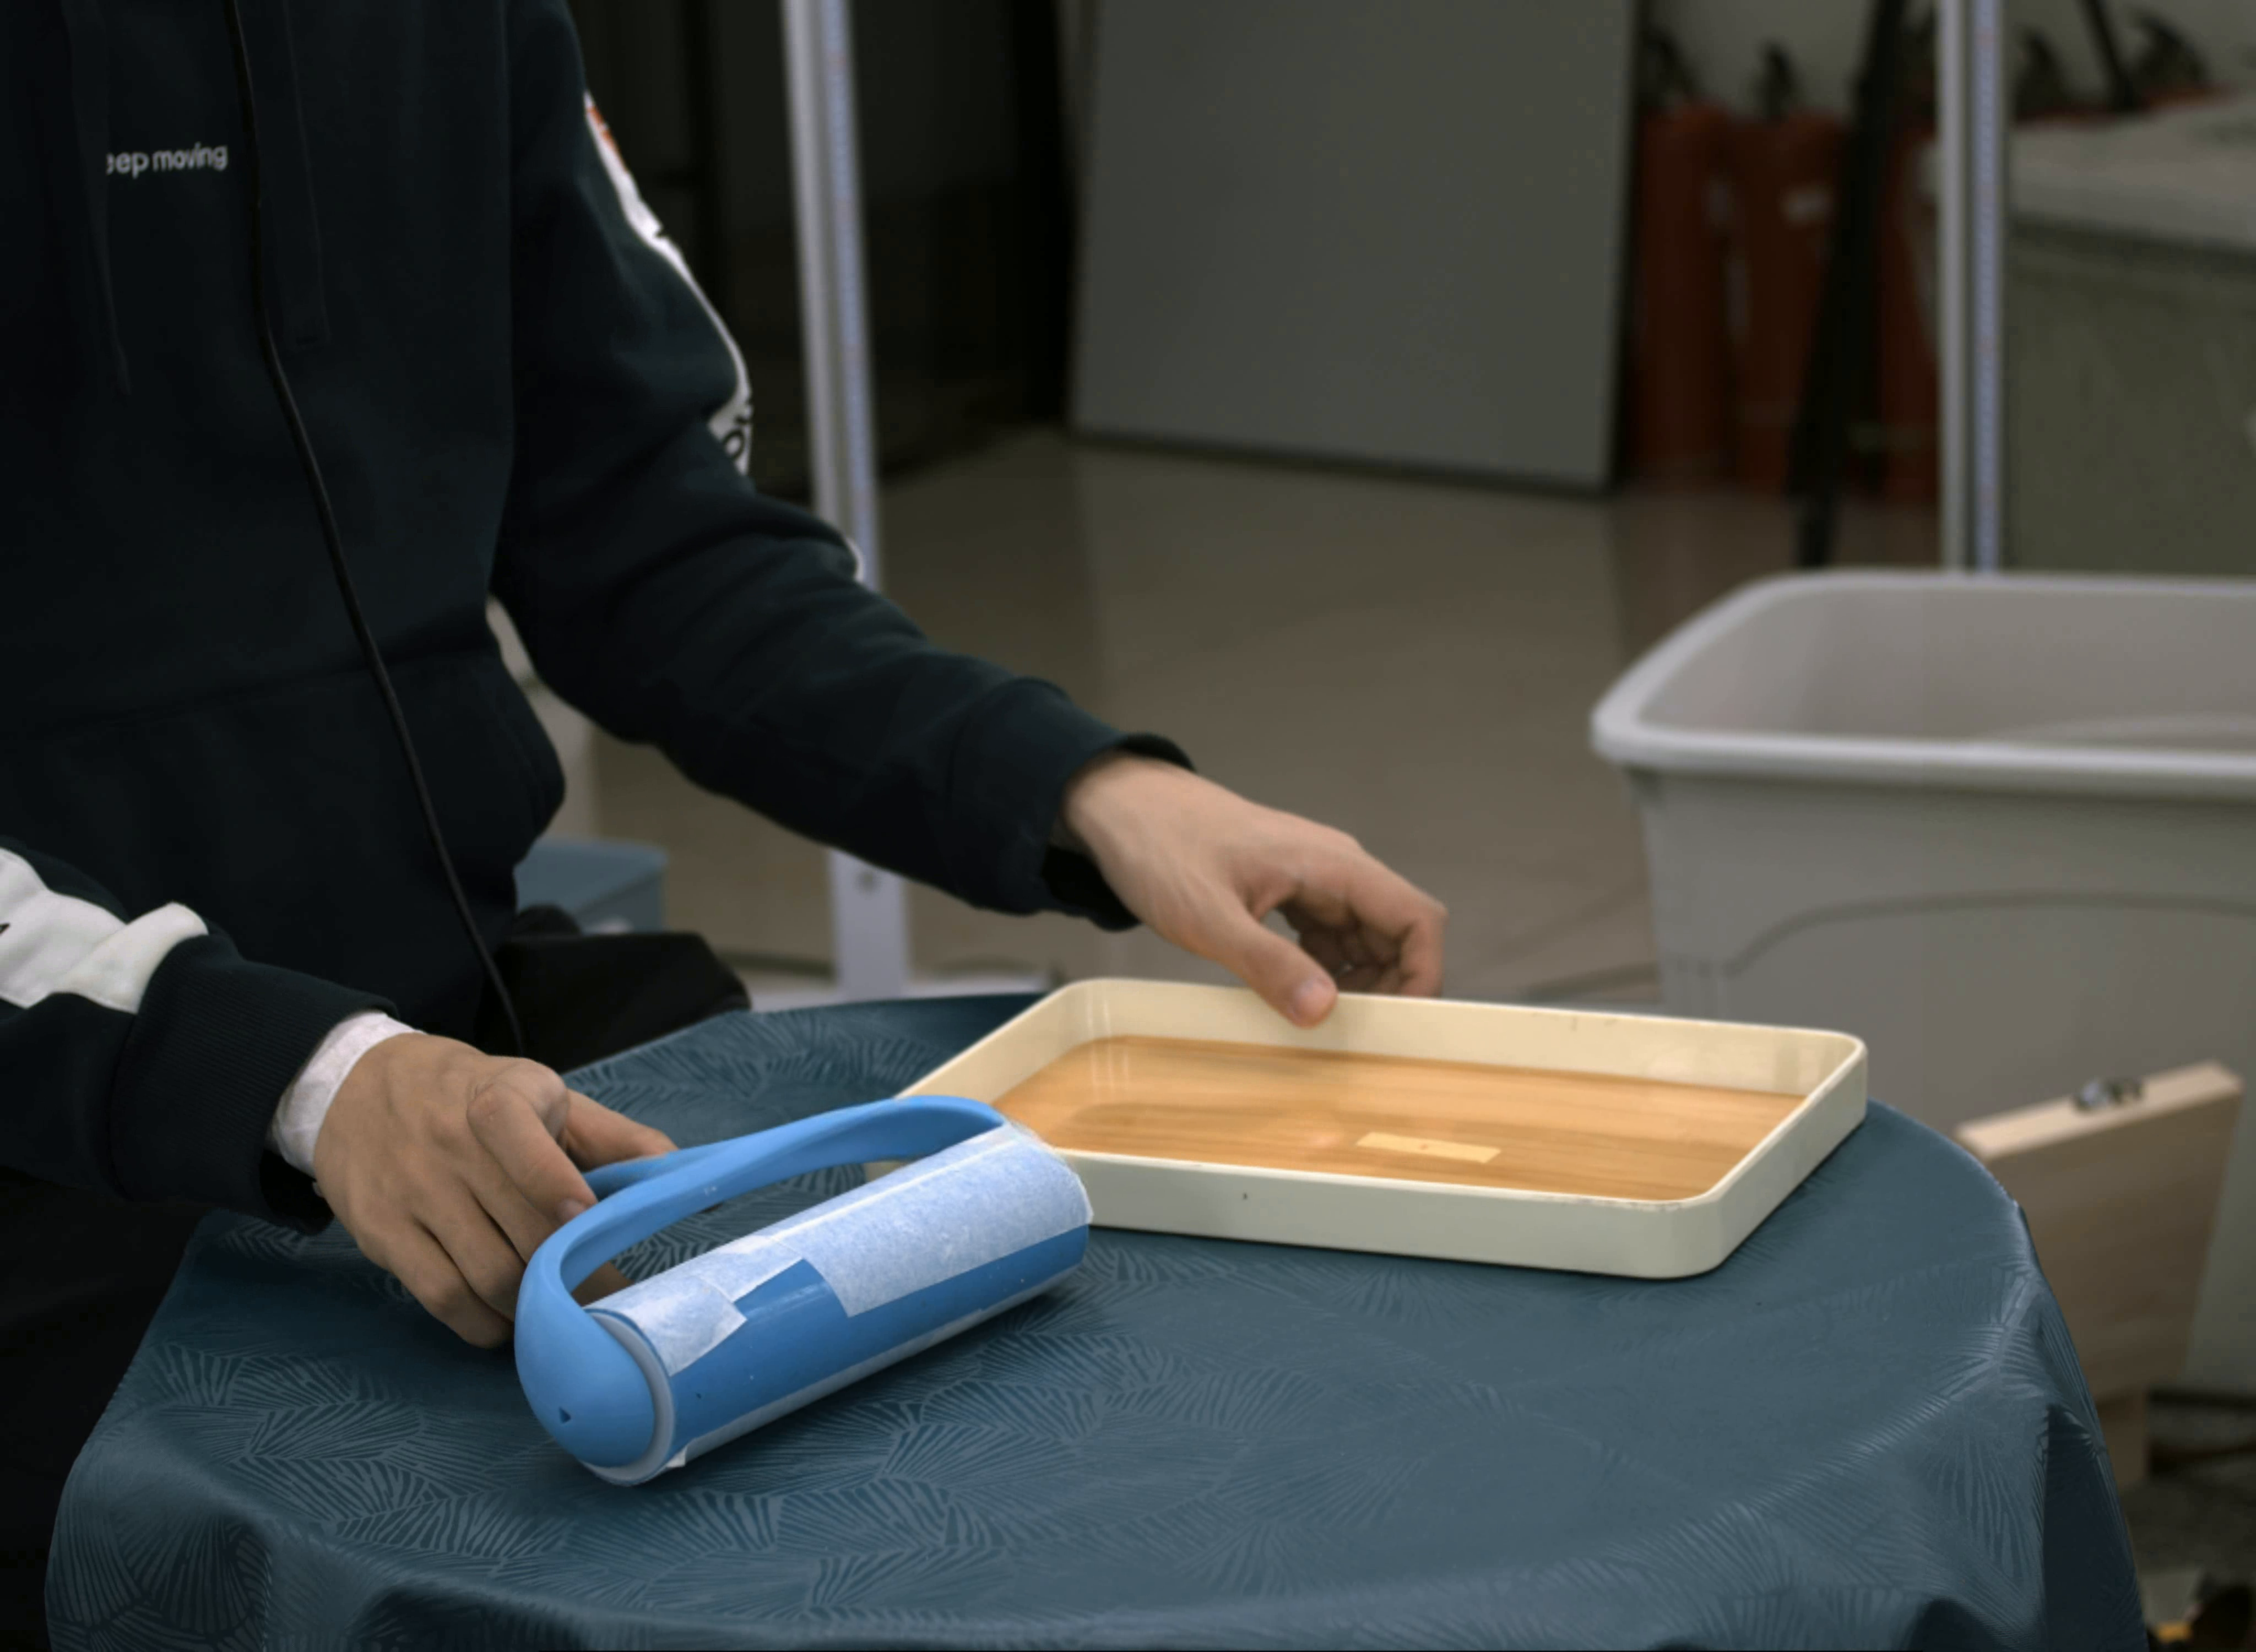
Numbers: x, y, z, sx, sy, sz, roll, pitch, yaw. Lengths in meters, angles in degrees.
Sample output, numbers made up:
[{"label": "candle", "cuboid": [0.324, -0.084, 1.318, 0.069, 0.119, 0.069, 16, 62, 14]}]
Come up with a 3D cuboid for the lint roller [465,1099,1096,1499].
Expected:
[{"label": "lint roller", "cuboid": [-0.135, 0.135, 1.639, 0.181, 0.068, 0.225, 7, 20, 34]}]

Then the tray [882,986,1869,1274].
[{"label": "tray", "cuboid": [0.080, 0.098, 1.785, 0.301, 0.028, 0.189, 3, 15, 26]}]
